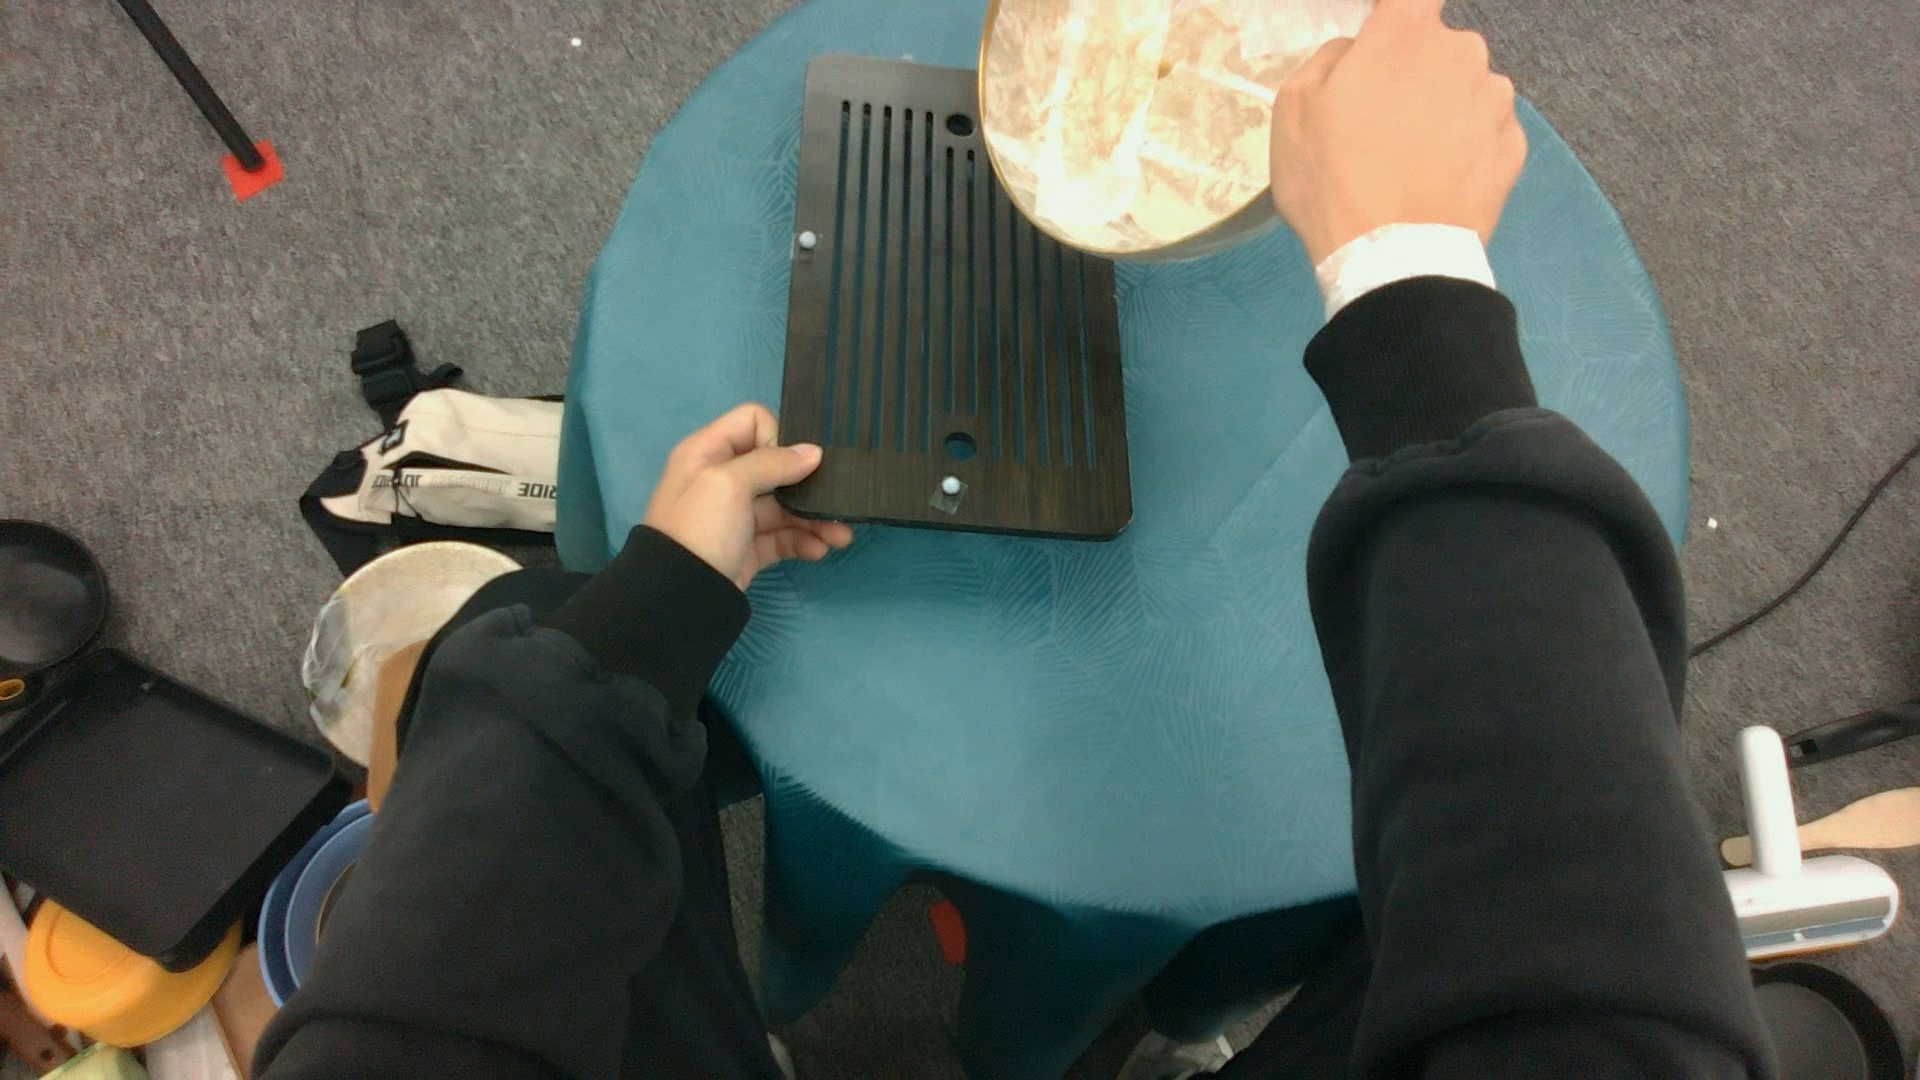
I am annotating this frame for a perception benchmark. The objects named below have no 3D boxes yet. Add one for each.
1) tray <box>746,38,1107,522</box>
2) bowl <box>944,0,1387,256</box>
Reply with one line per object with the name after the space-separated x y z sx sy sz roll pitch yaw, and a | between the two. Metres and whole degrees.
-0.017 -0.143 0.714 0.170 0.018 0.307 4 59 -8 | tray
0.104 -0.224 0.626 0.214 0.095 0.215 -4 84 36 | bowl
